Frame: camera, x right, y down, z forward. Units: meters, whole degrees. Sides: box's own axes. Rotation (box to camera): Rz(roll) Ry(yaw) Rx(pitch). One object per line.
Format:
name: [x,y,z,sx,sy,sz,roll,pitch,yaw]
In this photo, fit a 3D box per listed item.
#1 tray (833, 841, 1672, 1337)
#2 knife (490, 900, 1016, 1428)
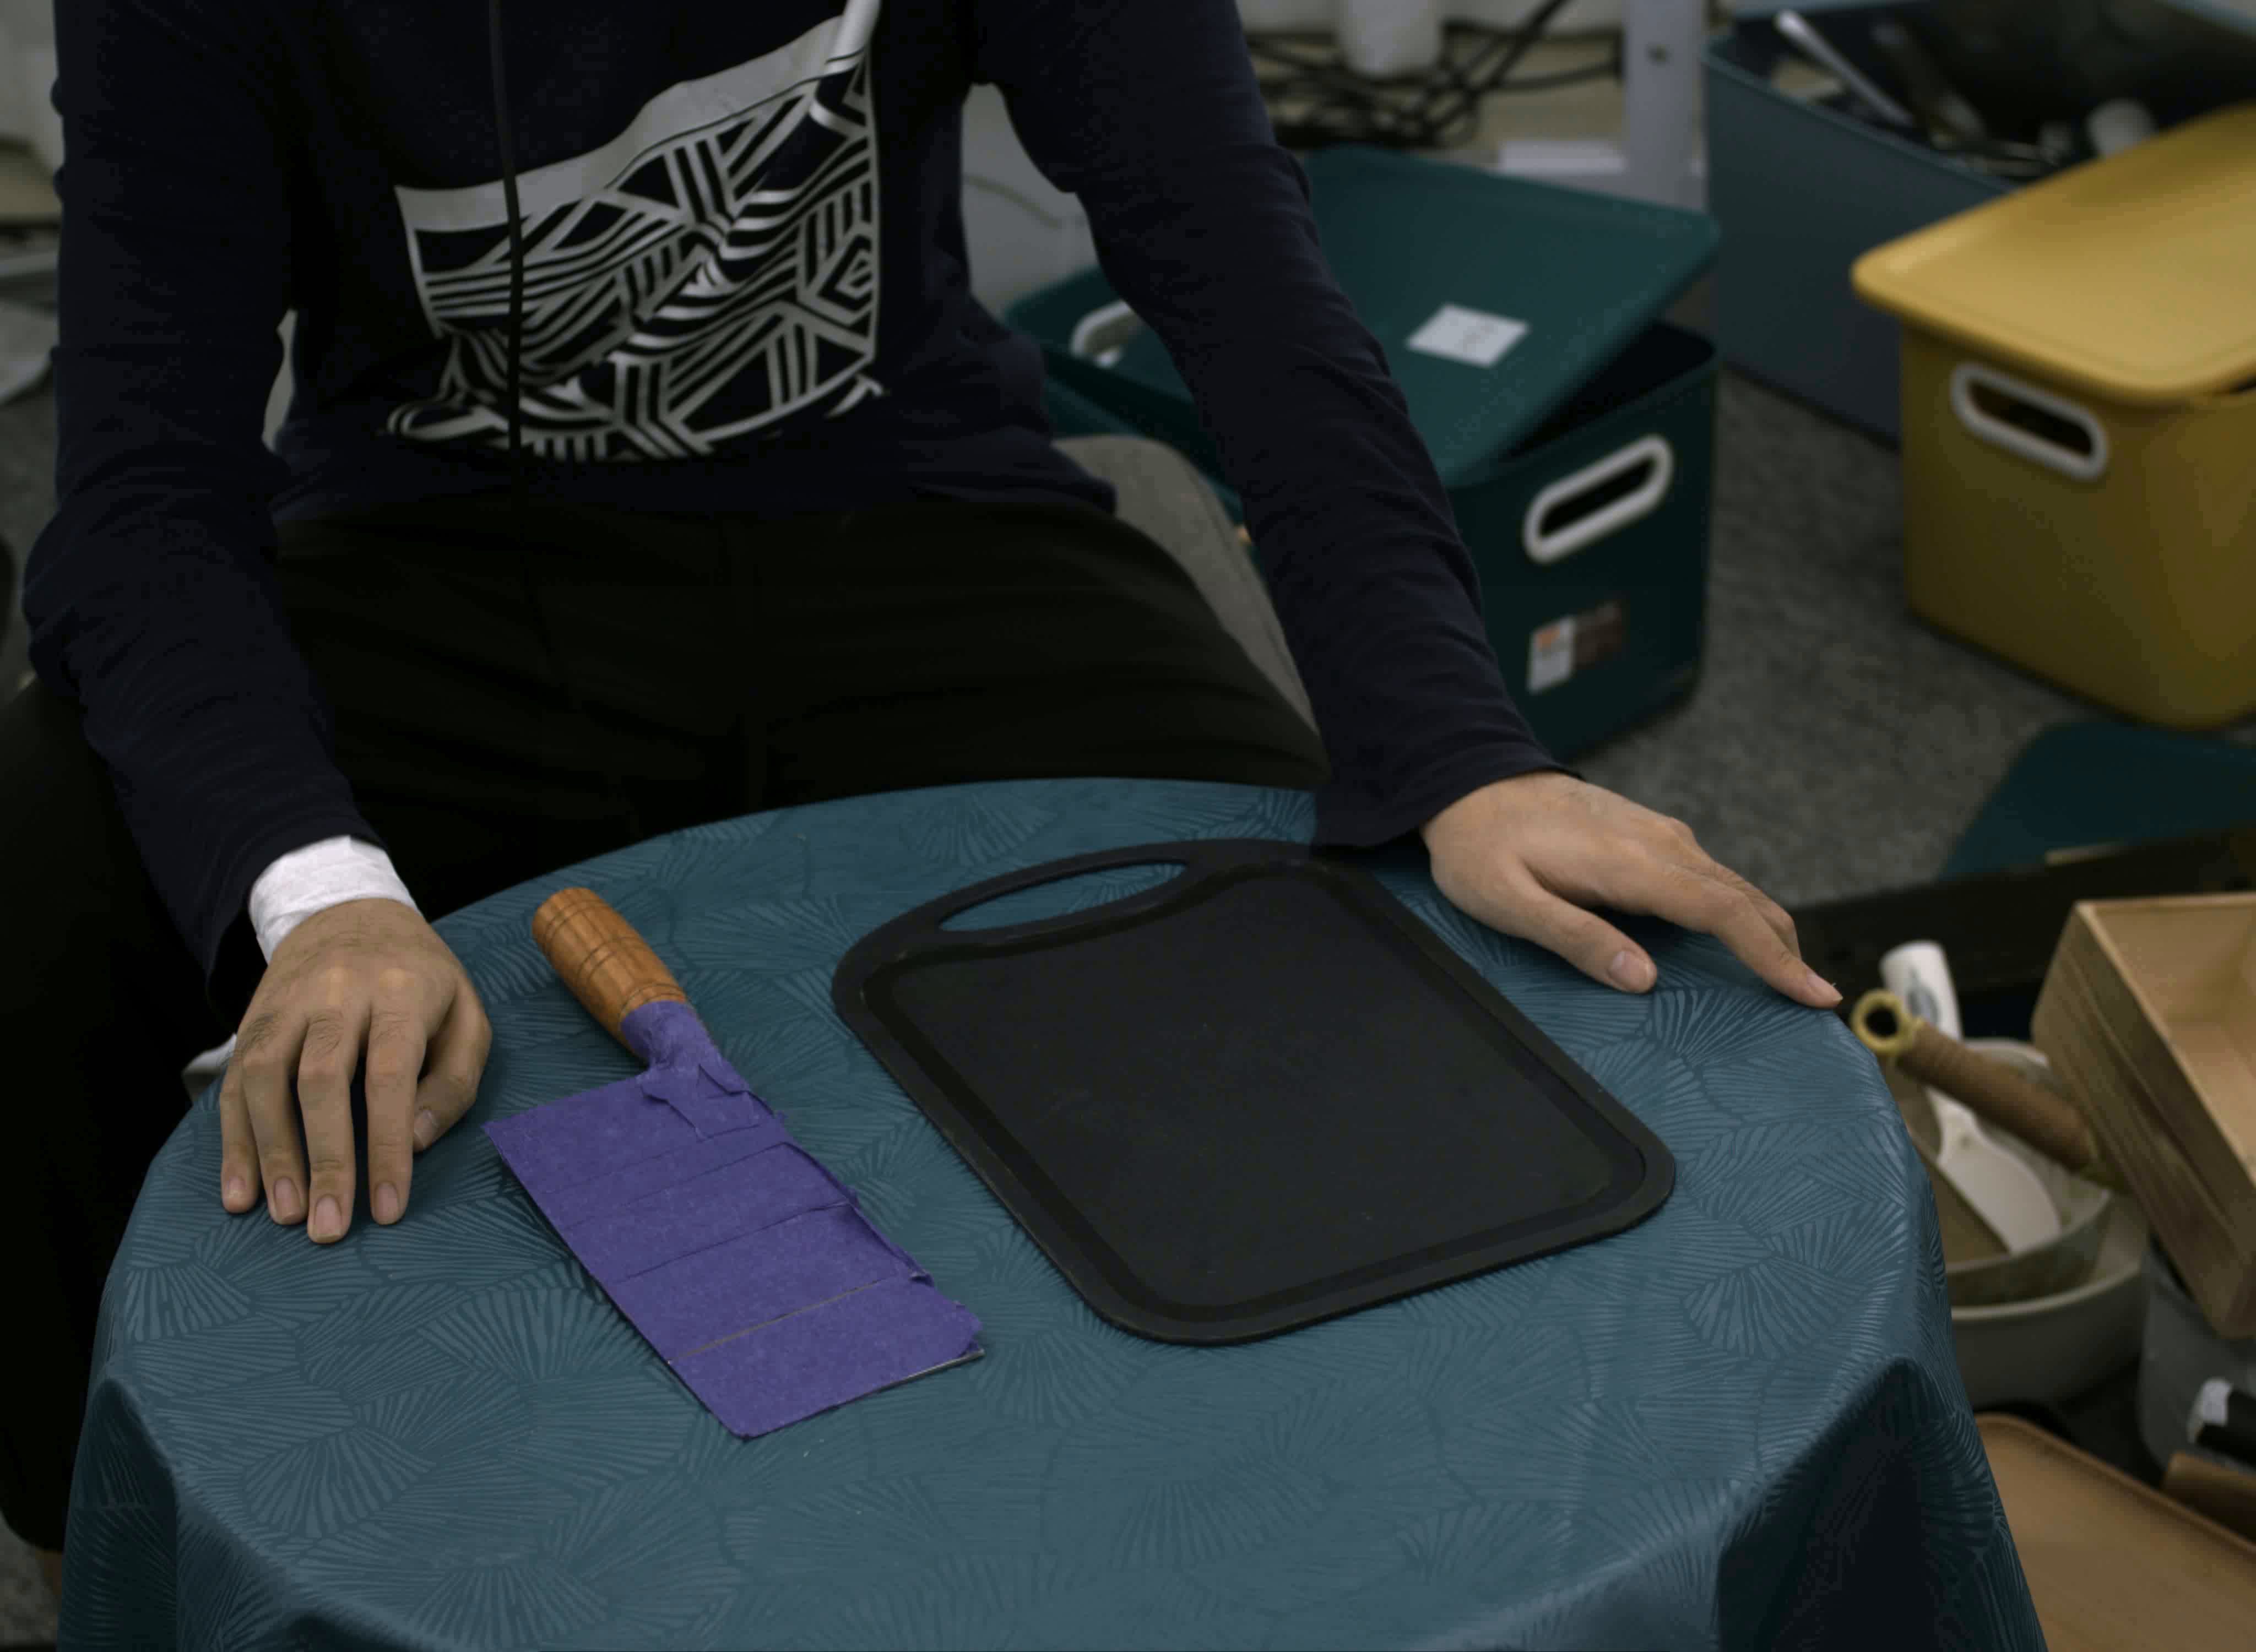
tray: [0.032,0.081,1.931,0.212,0.009,0.327,-13,29,-20]
knife: [-0.155,0.109,1.872,0.104,0.032,0.317,-16,30,-25]
